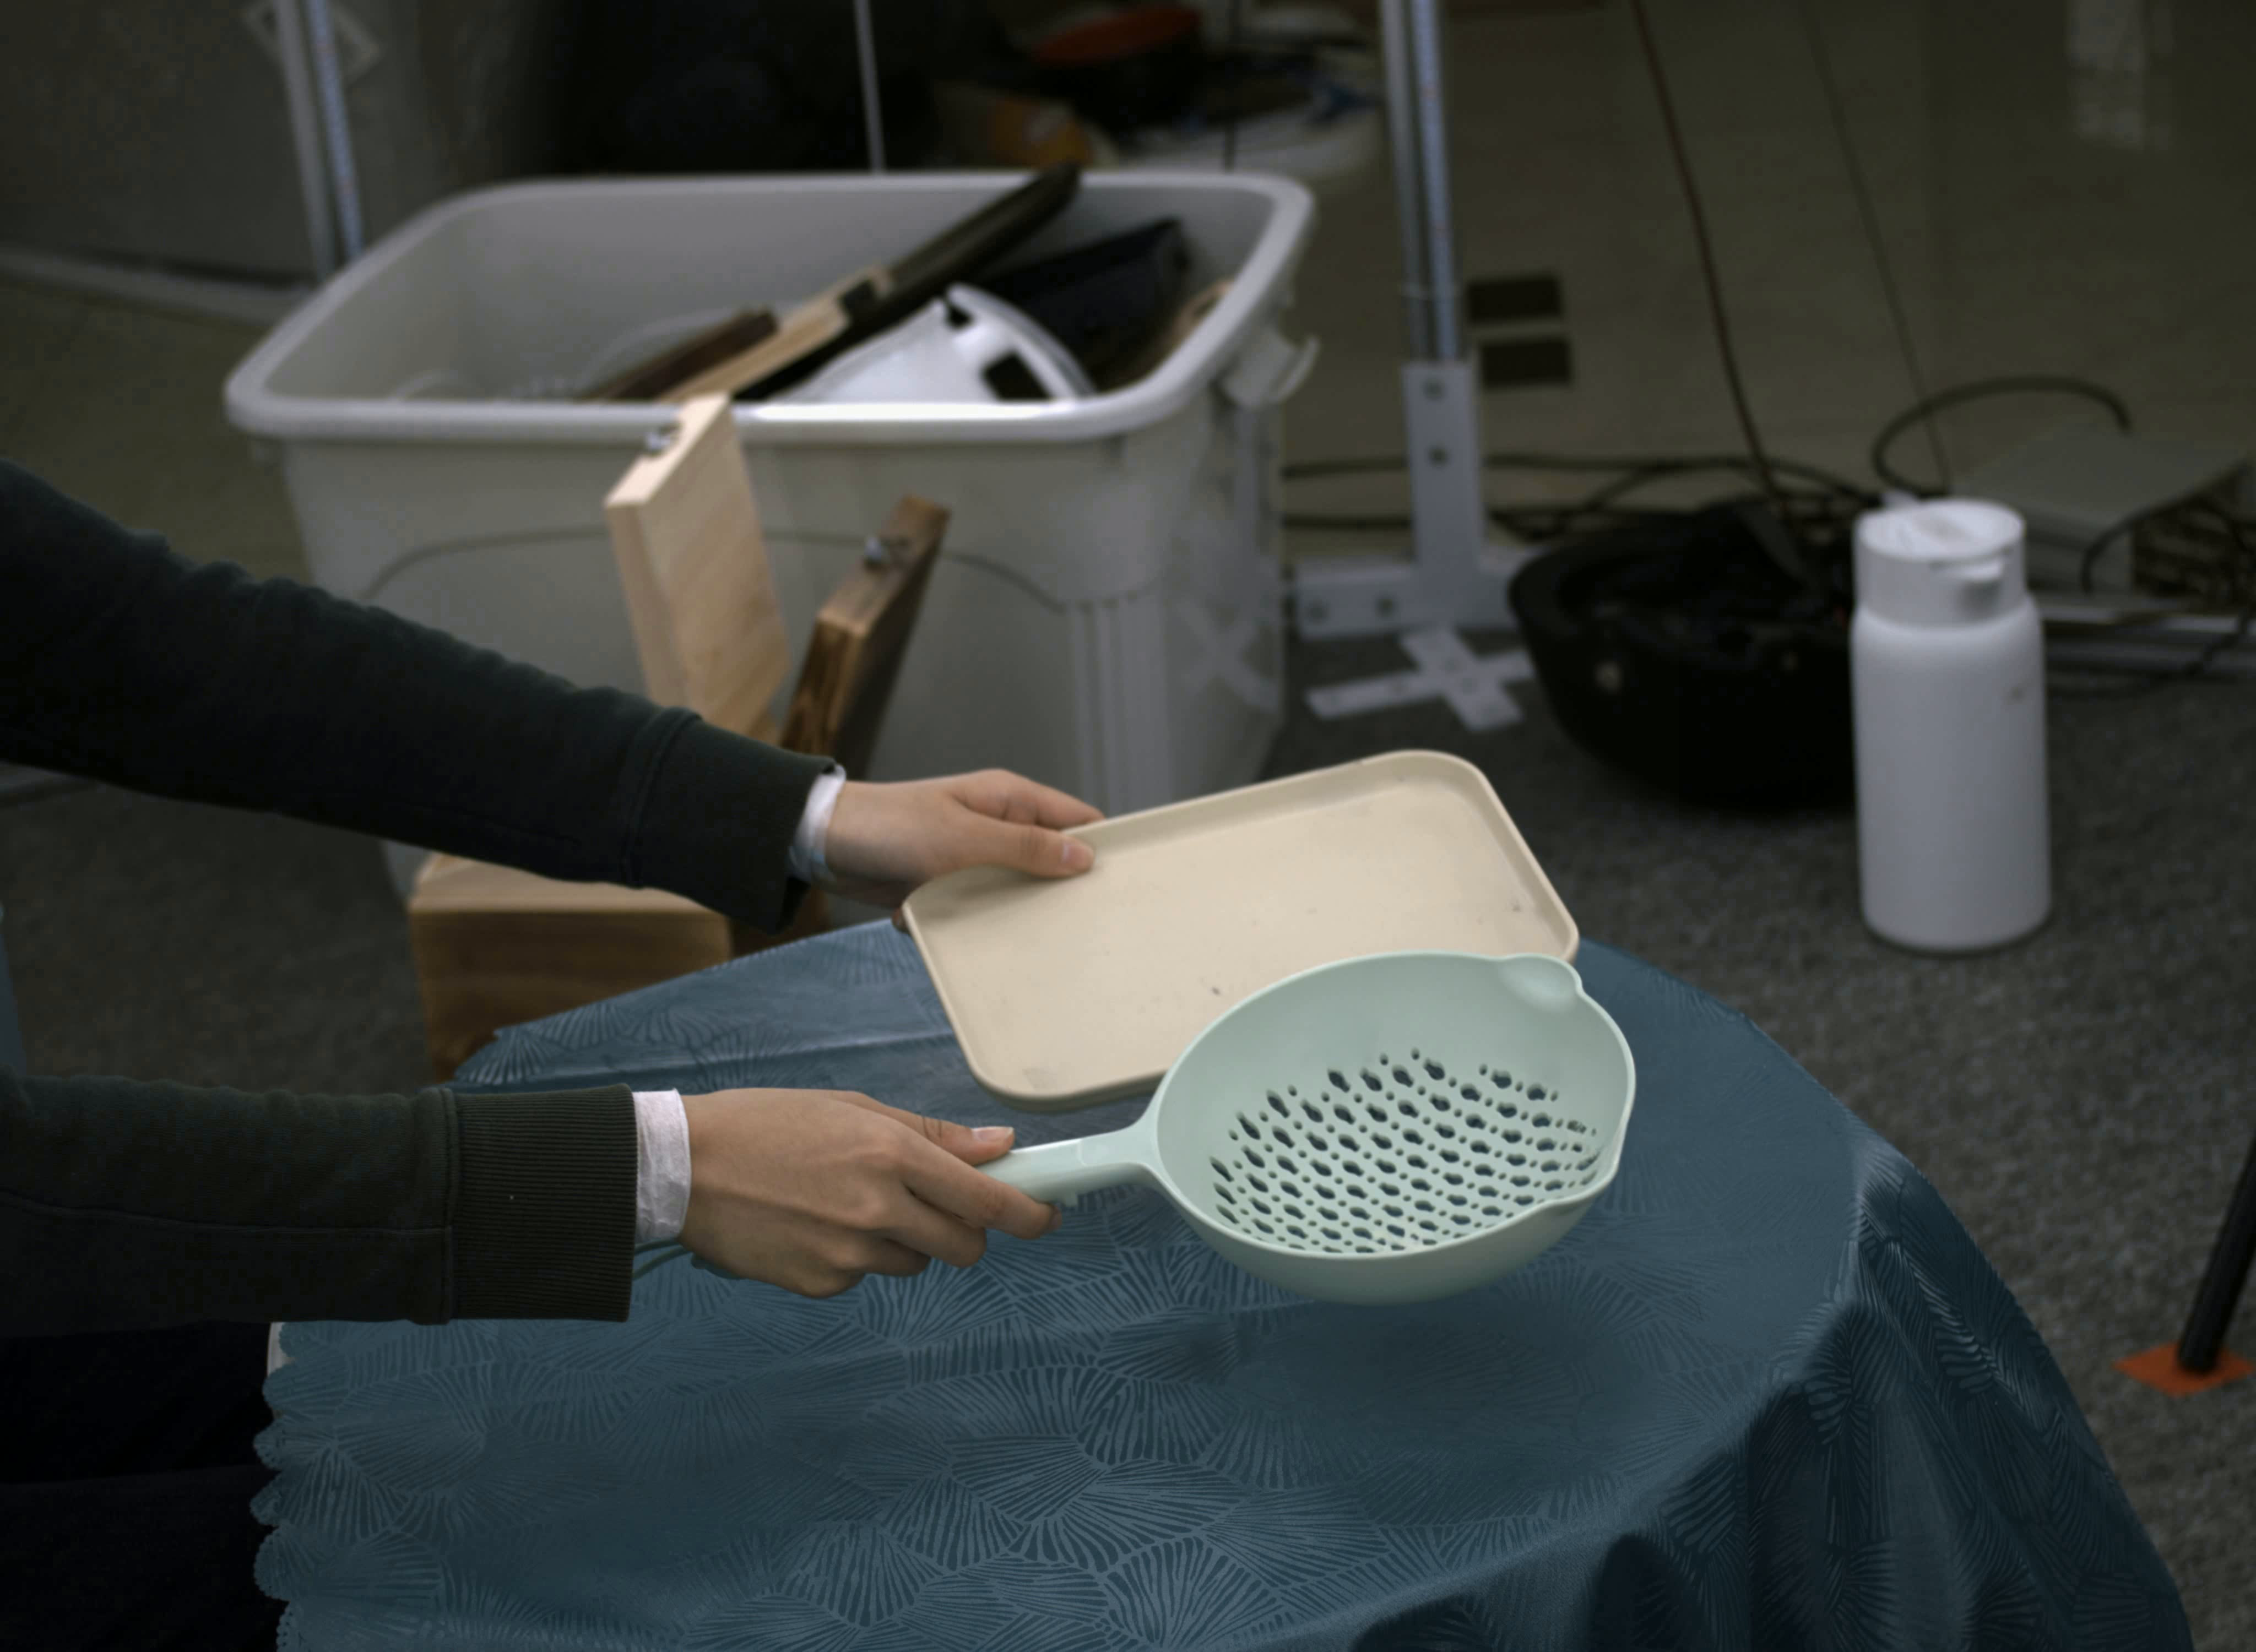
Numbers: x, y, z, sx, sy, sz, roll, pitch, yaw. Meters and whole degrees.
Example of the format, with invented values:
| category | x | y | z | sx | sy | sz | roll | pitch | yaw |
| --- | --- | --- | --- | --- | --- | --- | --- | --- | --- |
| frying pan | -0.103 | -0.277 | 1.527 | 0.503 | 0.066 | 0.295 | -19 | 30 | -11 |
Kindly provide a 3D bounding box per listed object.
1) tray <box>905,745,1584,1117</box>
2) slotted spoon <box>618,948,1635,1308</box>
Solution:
| category | x | y | z | sx | sy | sz | roll | pitch | yaw |
| --- | --- | --- | --- | --- | --- | --- | --- | --- | --- |
| tray | 0.043 | 0.040 | 2.176 | 0.239 | 0.018 | 0.168 | -14 | 35 | -9 |
| slotted spoon | -0.002 | 0.121 | 1.987 | 0.358 | 0.077 | 0.166 | -3 | 35 | -2 |
